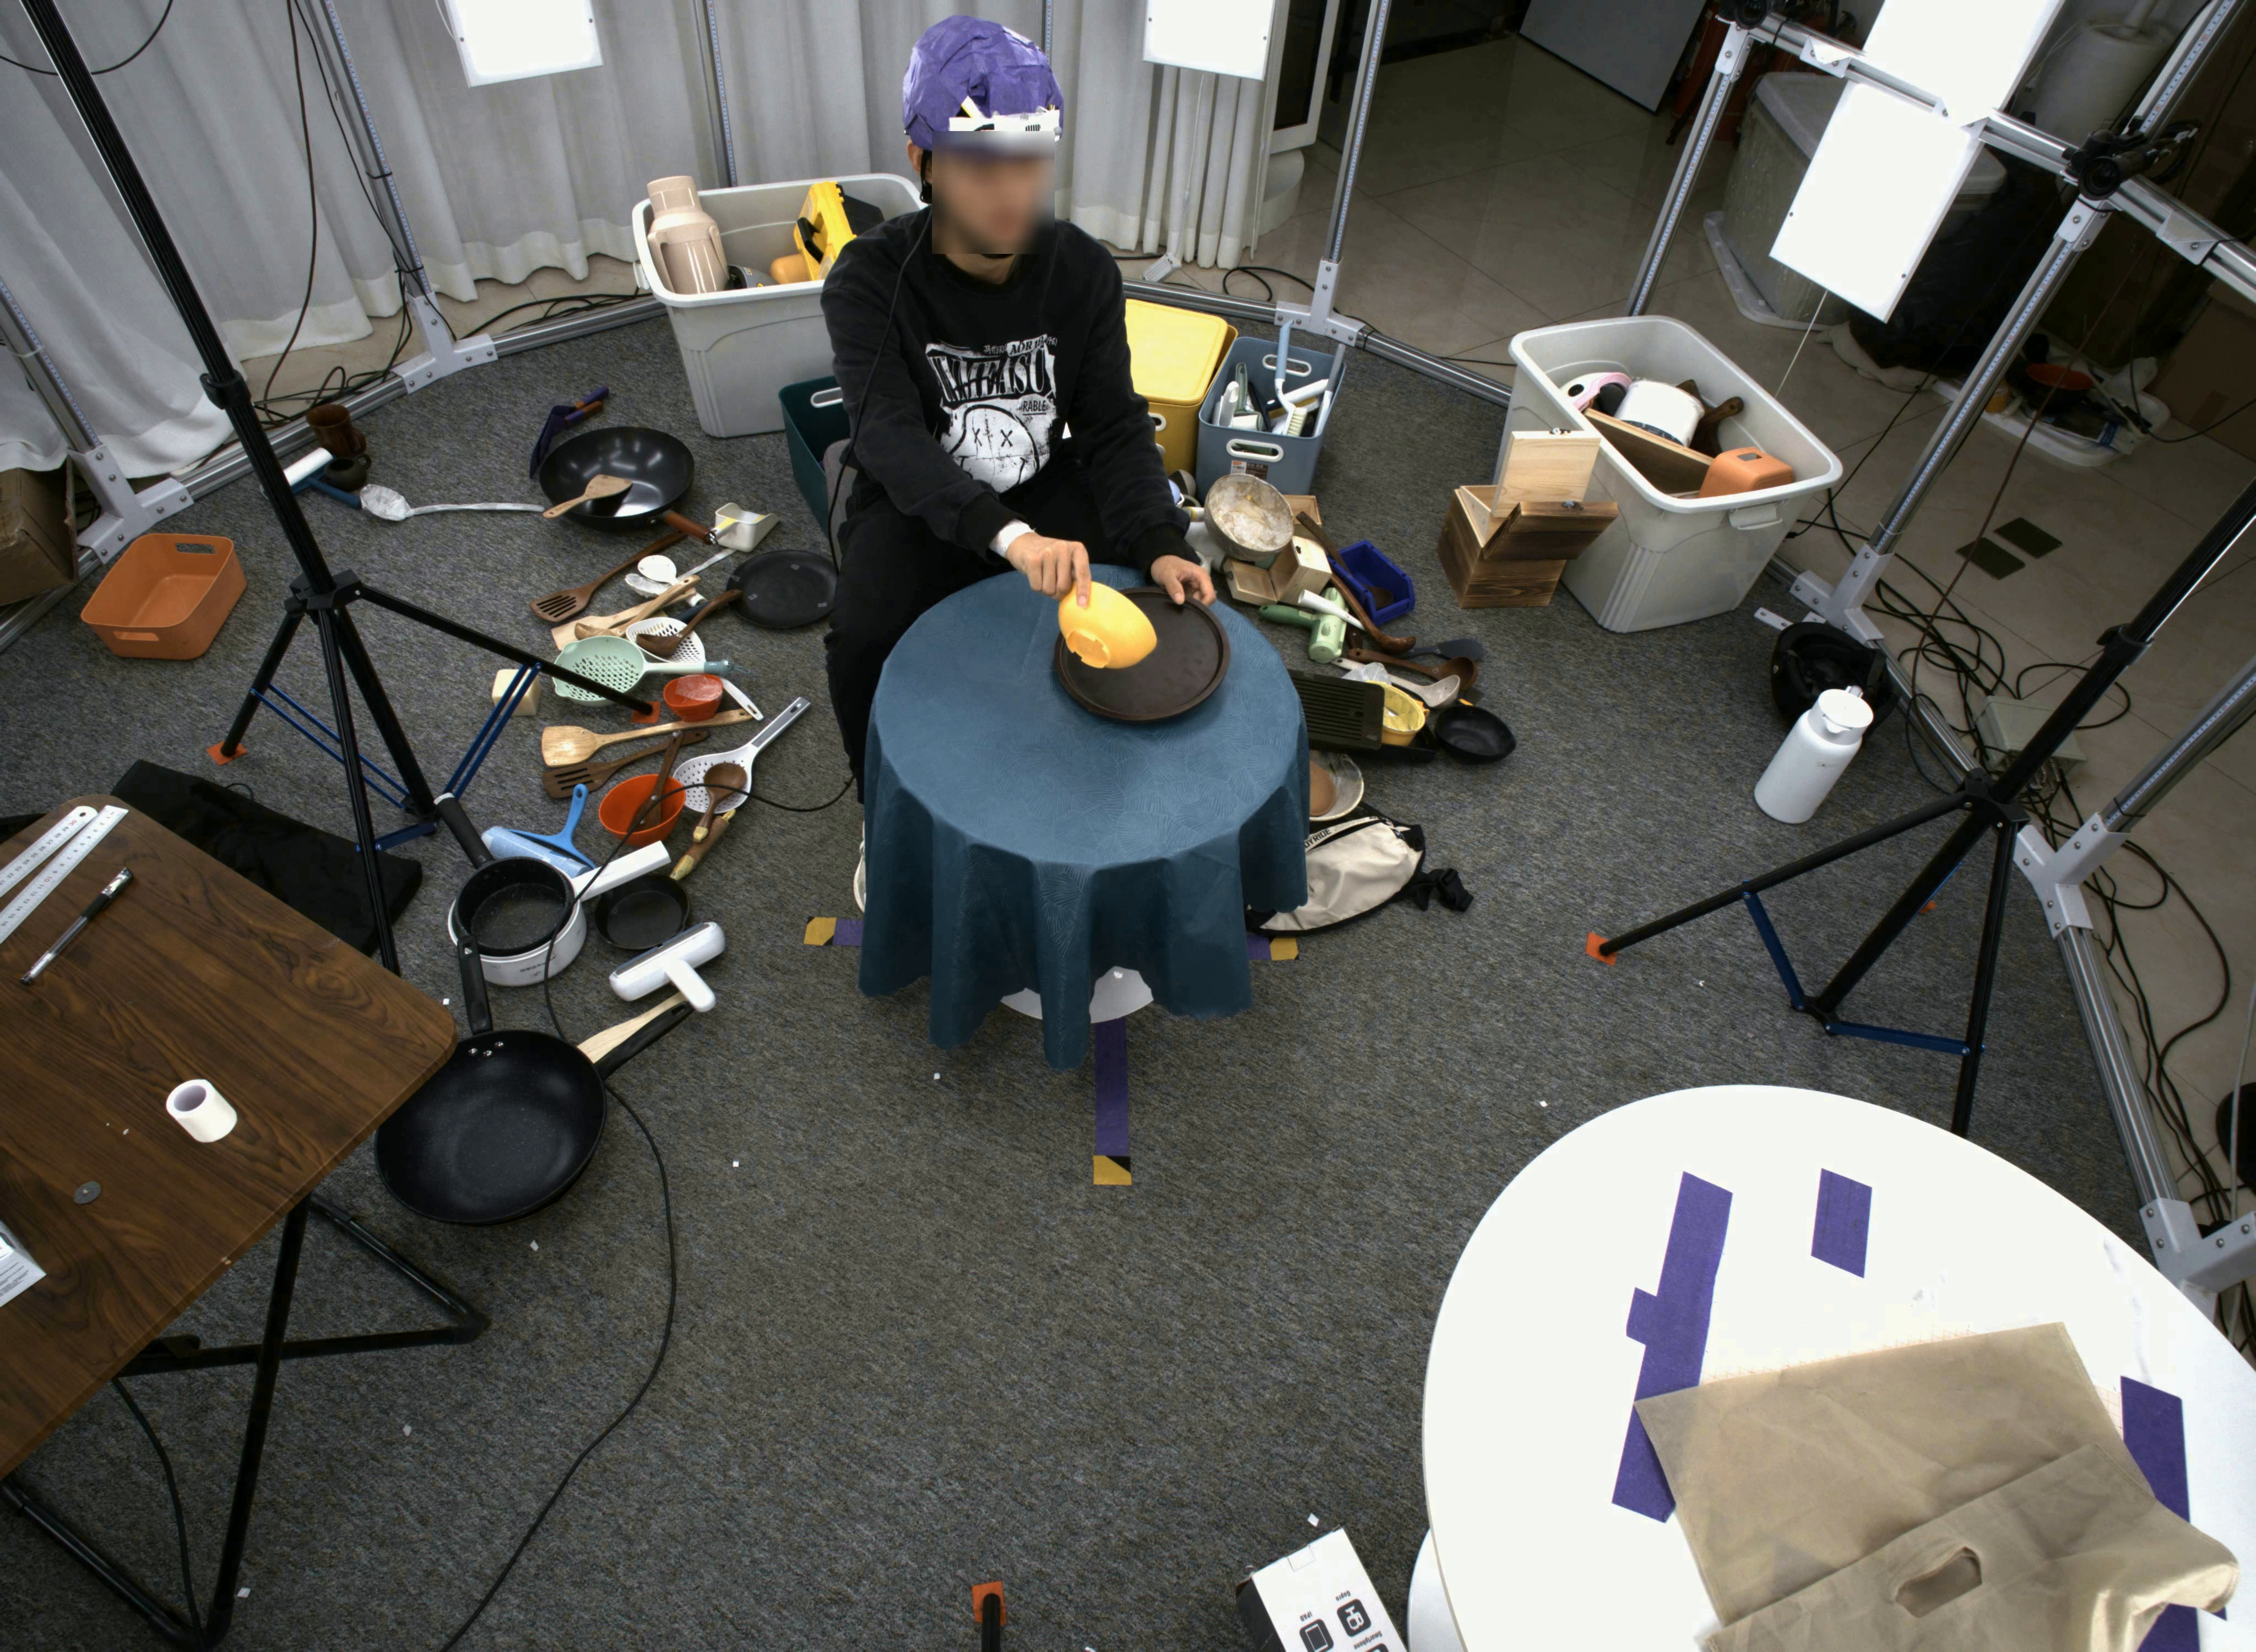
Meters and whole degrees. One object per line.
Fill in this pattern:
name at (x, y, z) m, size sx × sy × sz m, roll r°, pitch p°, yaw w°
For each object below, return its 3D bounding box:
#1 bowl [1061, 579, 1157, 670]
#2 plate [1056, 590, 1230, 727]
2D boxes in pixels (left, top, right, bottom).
bowl at (-0.037, -0.255, 1.708) m, size 0.146 × 0.142 × 0.061 m, roll 28°, pitch 65°, yaw 18°
plate at (0.022, -0.245, 1.863) m, size 0.255 × 0.028 × 0.261 m, roll -3°, pitch 54°, yaw 4°
